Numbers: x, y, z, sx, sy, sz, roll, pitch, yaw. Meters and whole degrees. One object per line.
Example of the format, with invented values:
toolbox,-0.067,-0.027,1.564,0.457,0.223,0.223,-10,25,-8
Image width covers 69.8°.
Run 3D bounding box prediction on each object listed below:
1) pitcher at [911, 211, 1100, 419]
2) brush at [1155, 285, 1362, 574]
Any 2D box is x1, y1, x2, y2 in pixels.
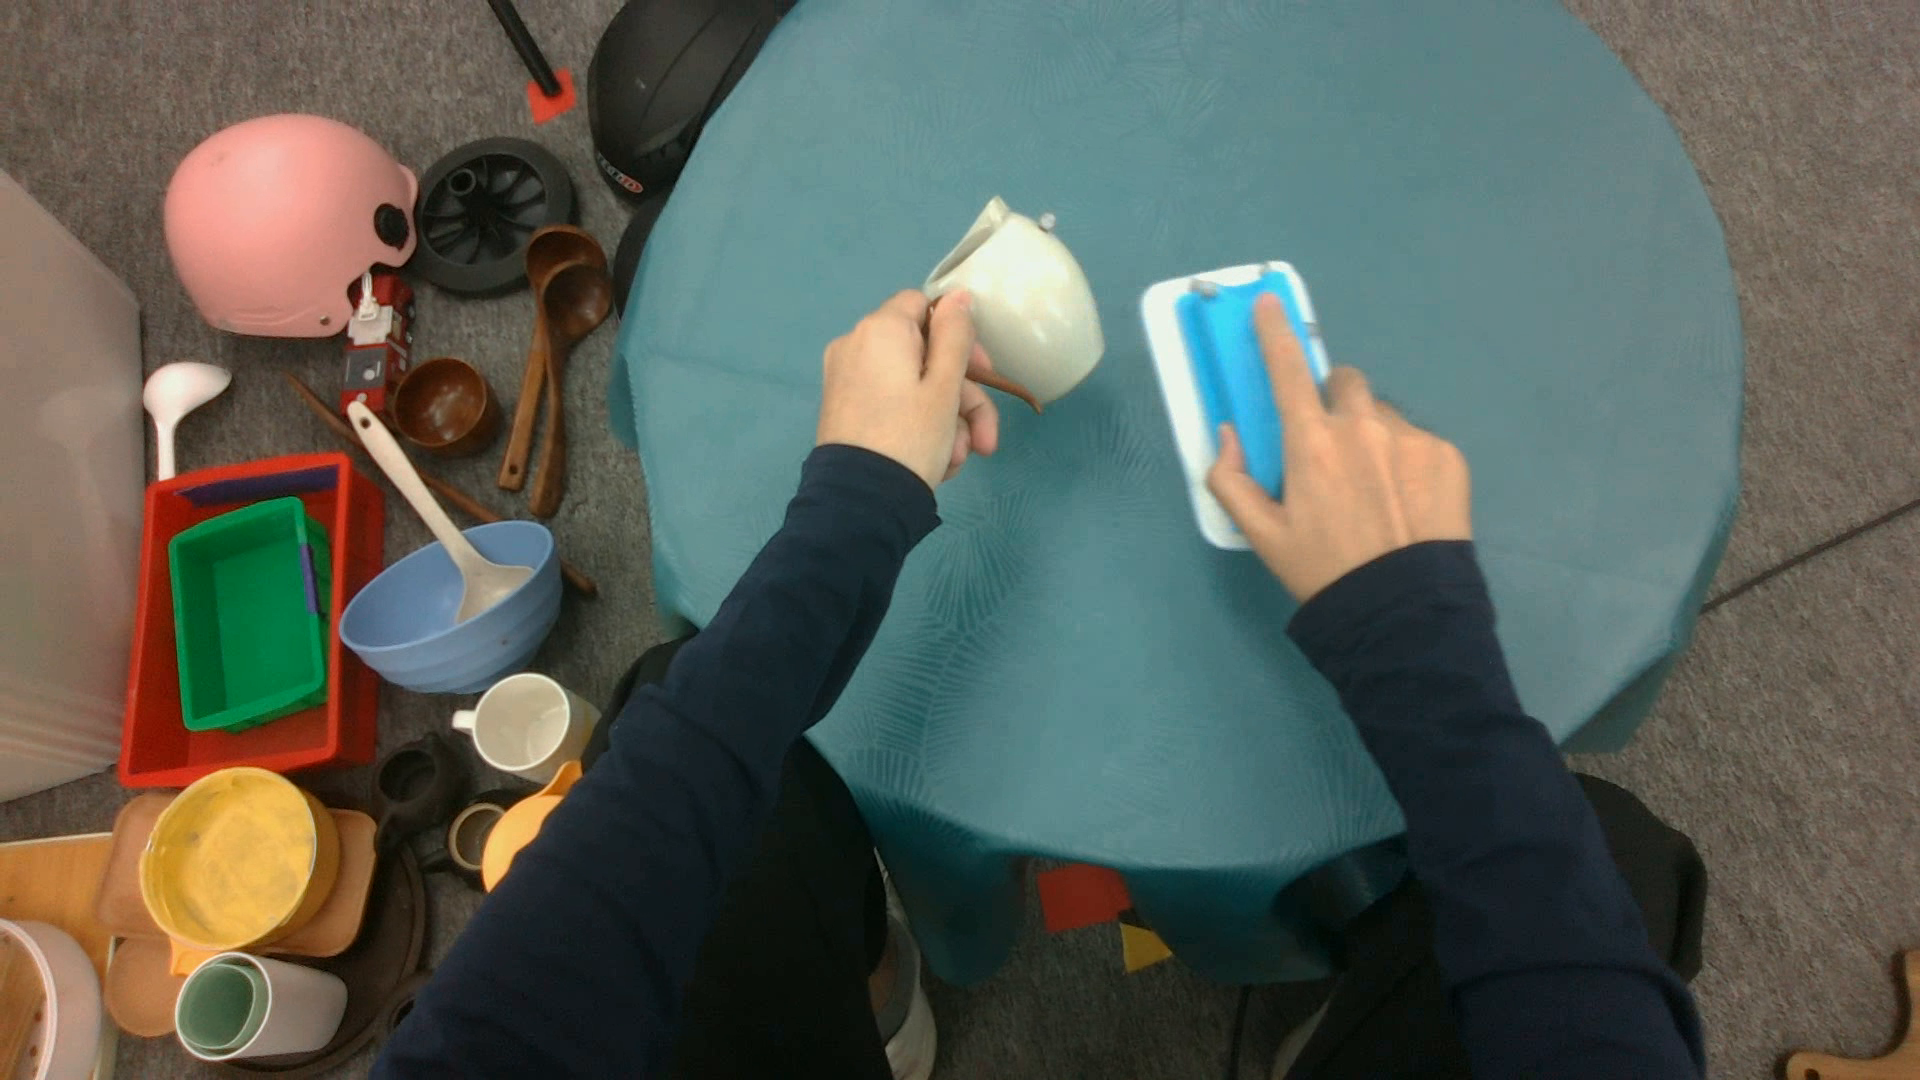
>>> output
pitcher,0.023,-0.107,0.691,0.088,0.075,0.120,51,46,-11
brush,0.141,-0.058,0.658,0.084,0.056,0.144,-9,73,2
